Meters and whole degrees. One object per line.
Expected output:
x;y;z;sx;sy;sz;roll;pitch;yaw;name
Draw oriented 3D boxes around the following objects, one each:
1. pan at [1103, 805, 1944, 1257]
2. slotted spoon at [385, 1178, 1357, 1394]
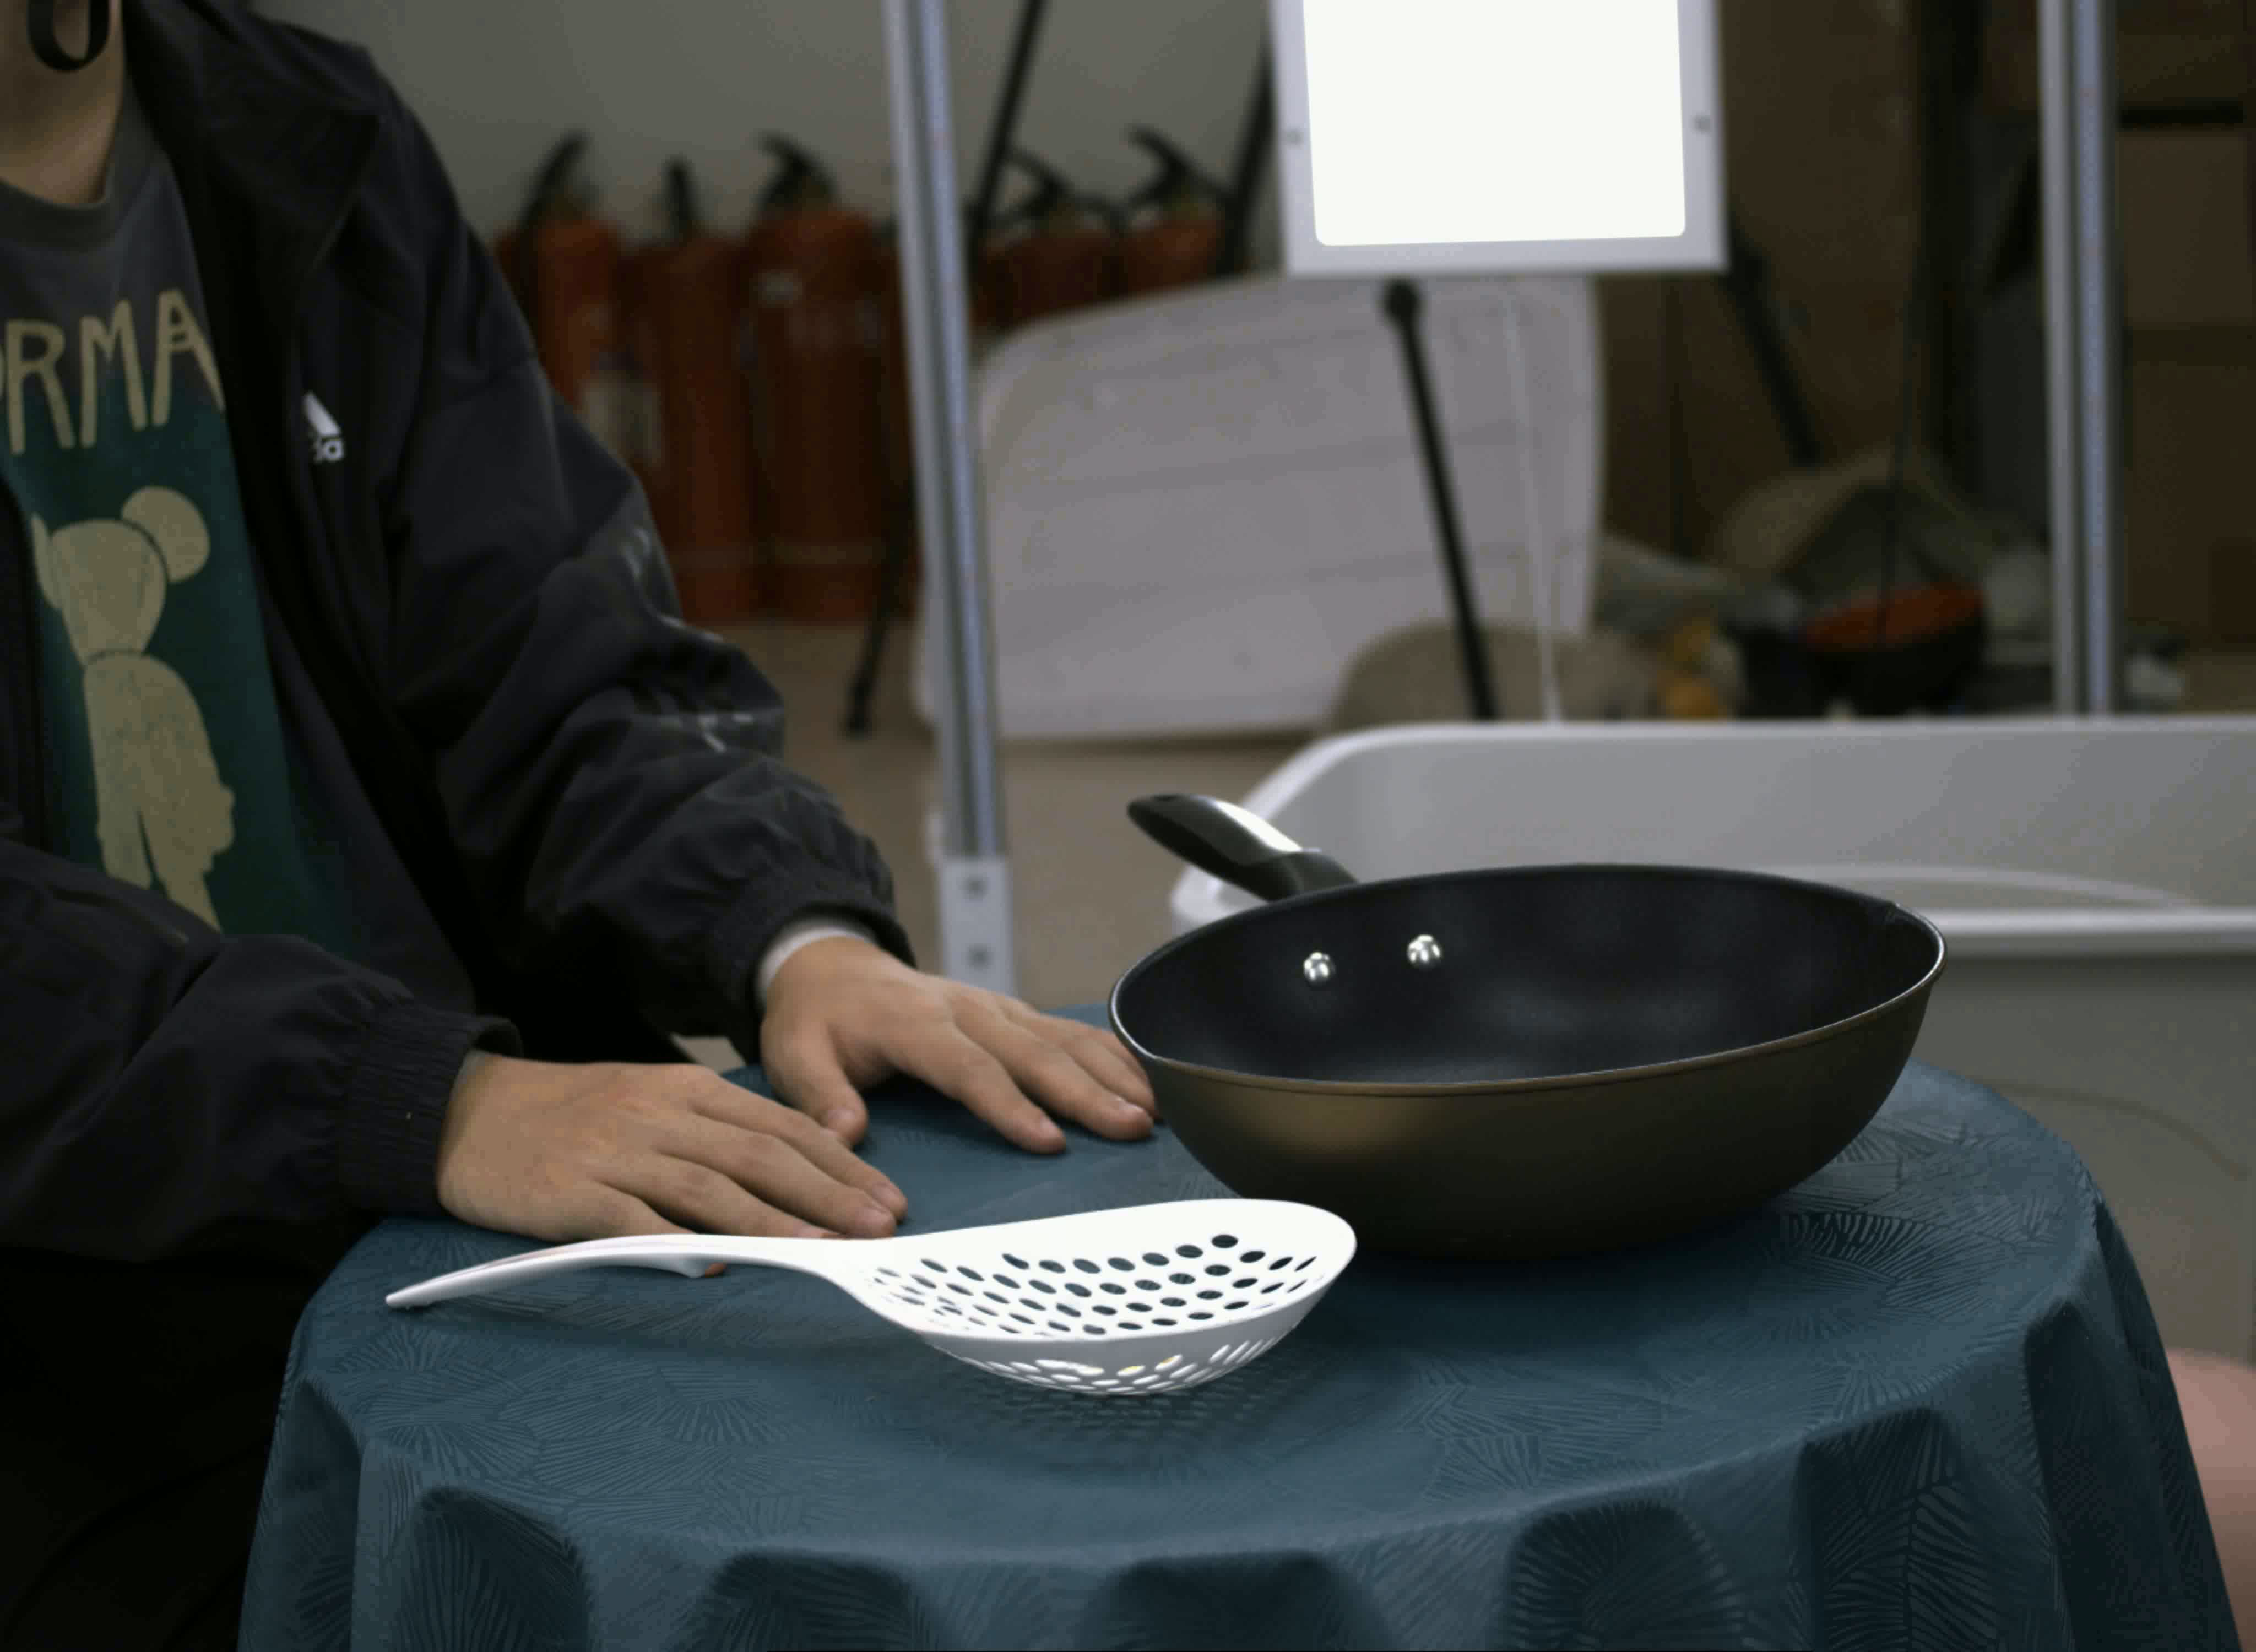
0.100;0.068;1.928;0.283;0.087;0.470;-10;13;-20;pan
-0.091;0.148;1.758;0.354;0.050;0.134;2;17;30;slotted spoon
